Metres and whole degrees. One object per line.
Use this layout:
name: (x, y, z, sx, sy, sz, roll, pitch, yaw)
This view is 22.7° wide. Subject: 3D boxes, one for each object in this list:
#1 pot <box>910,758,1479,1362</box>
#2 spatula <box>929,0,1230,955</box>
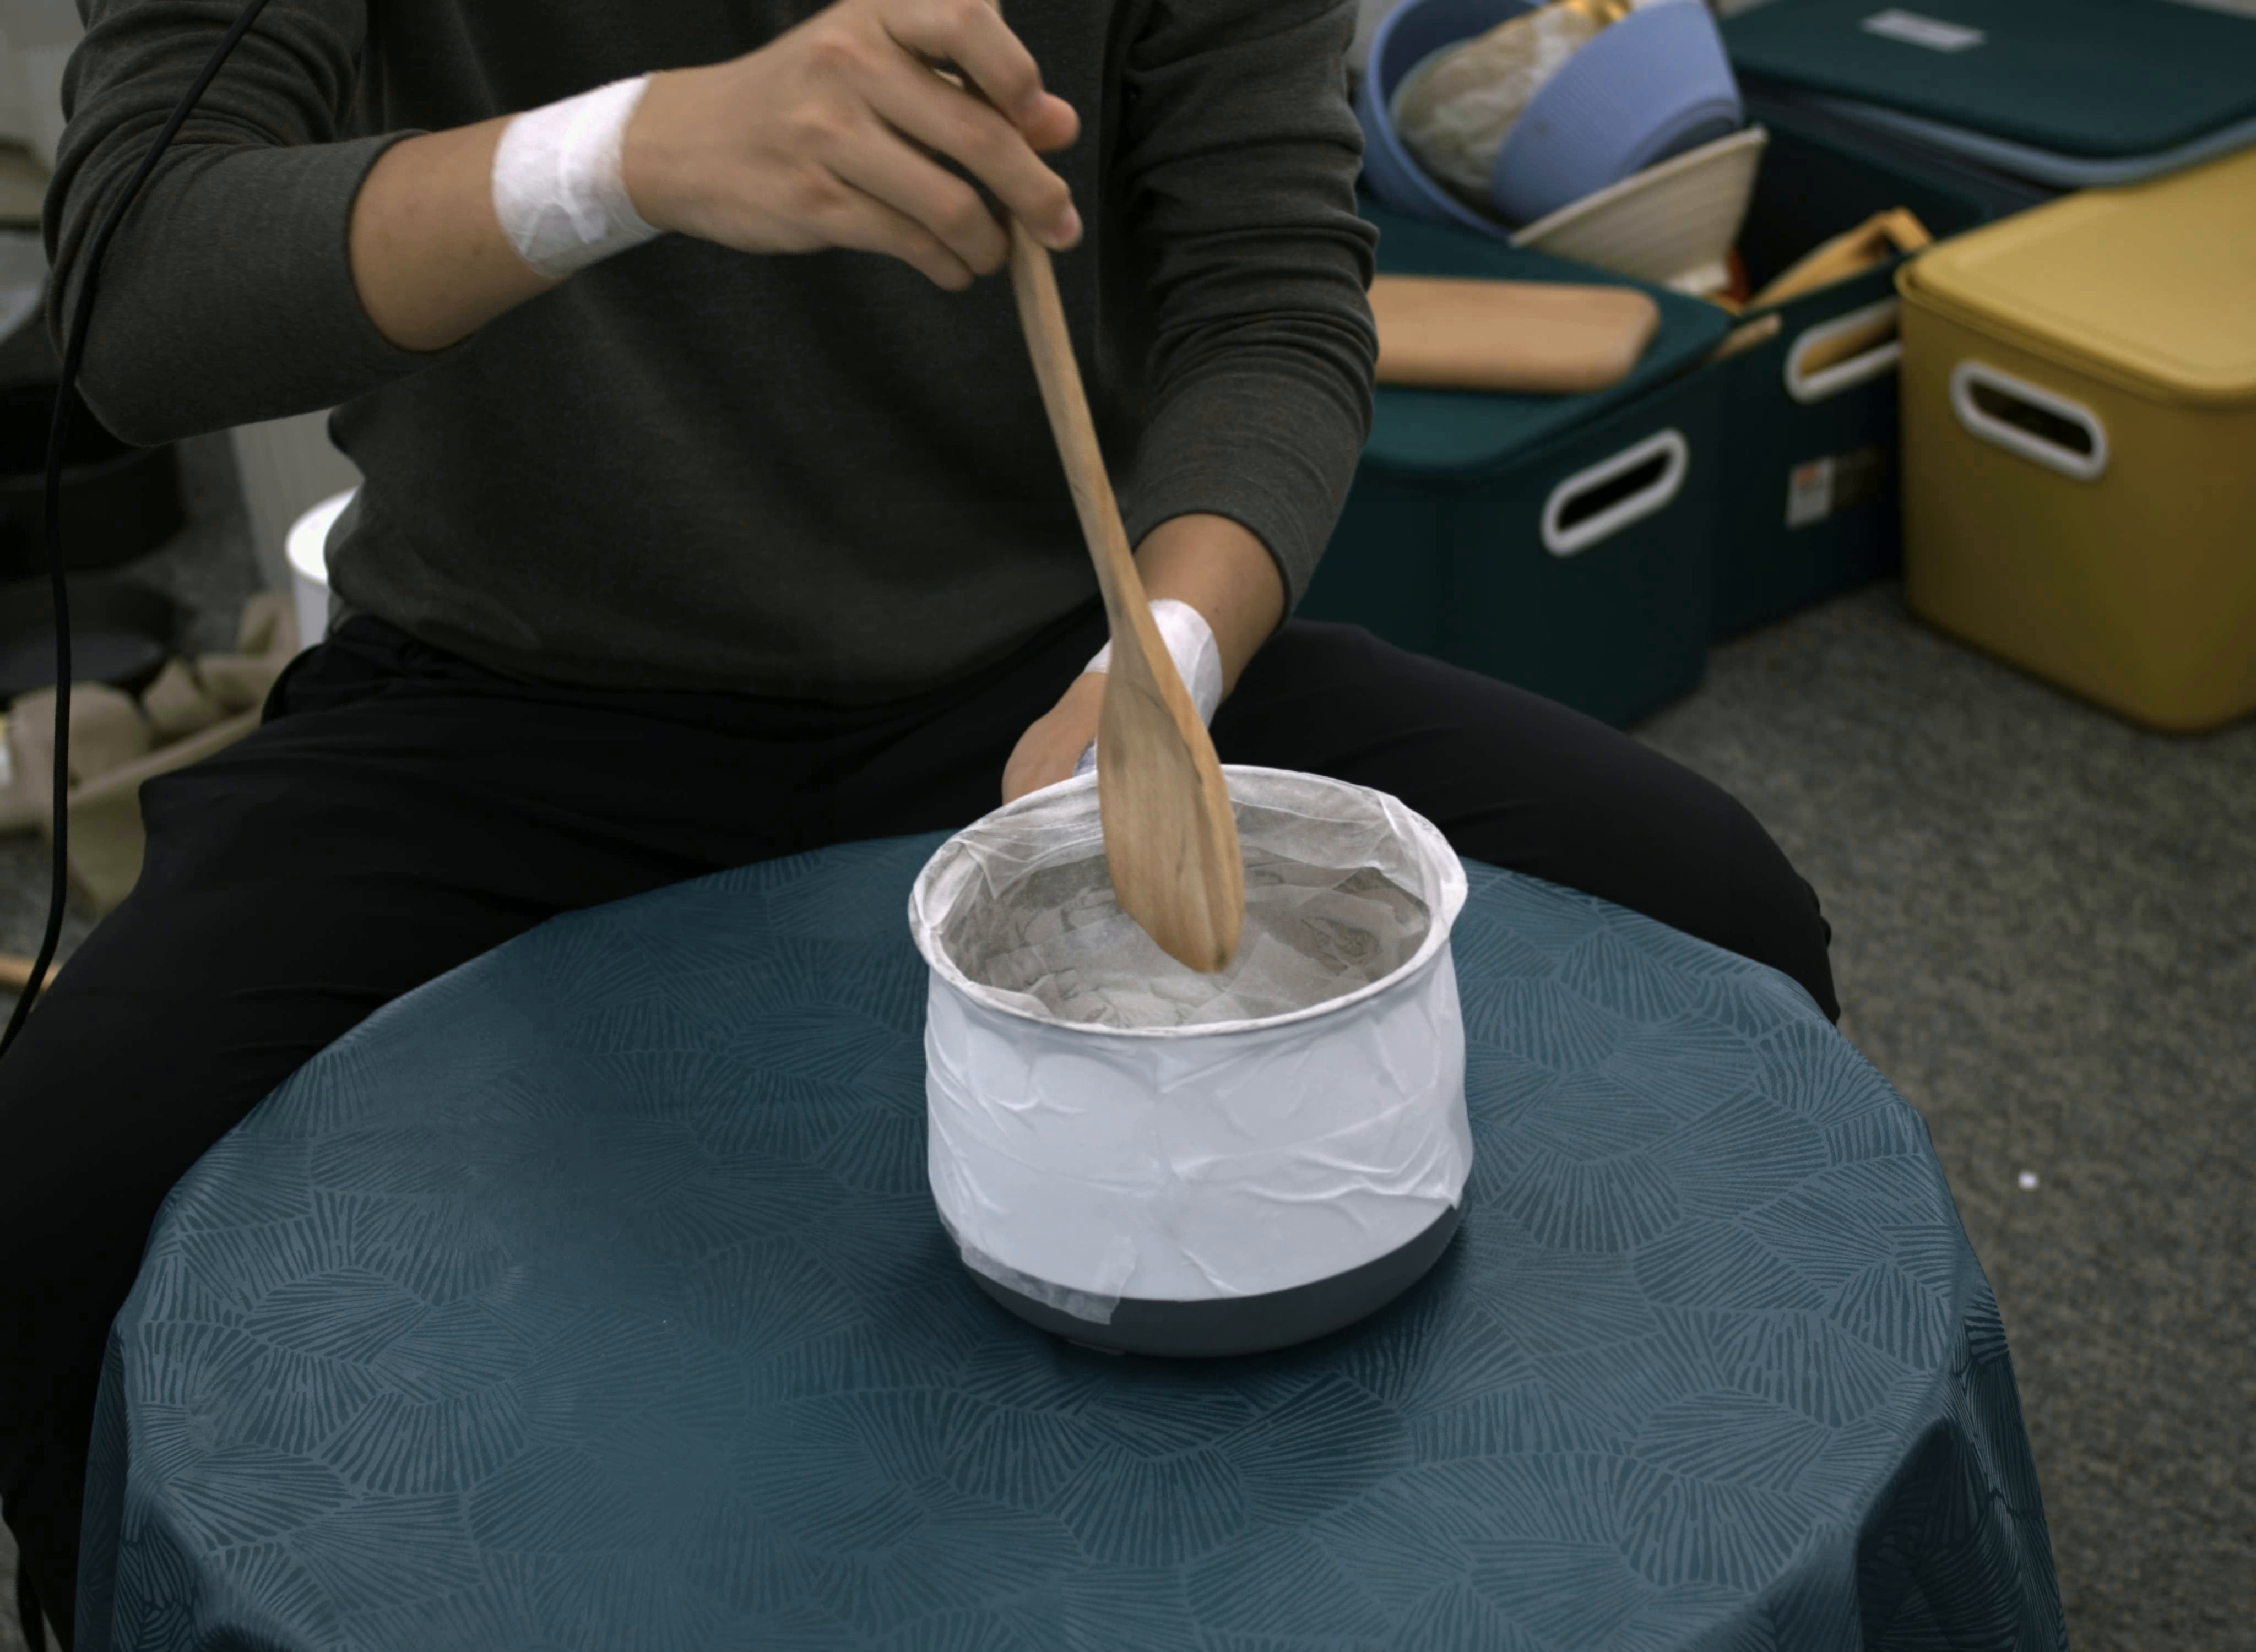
pot: (0.016, 0.066, 1.824, 0.179, 0.135, 0.236, -10, 27, -12)
spatula: (-0.027, -0.143, 1.736, 0.018, 0.389, 0.096, -21, 18, -20)
